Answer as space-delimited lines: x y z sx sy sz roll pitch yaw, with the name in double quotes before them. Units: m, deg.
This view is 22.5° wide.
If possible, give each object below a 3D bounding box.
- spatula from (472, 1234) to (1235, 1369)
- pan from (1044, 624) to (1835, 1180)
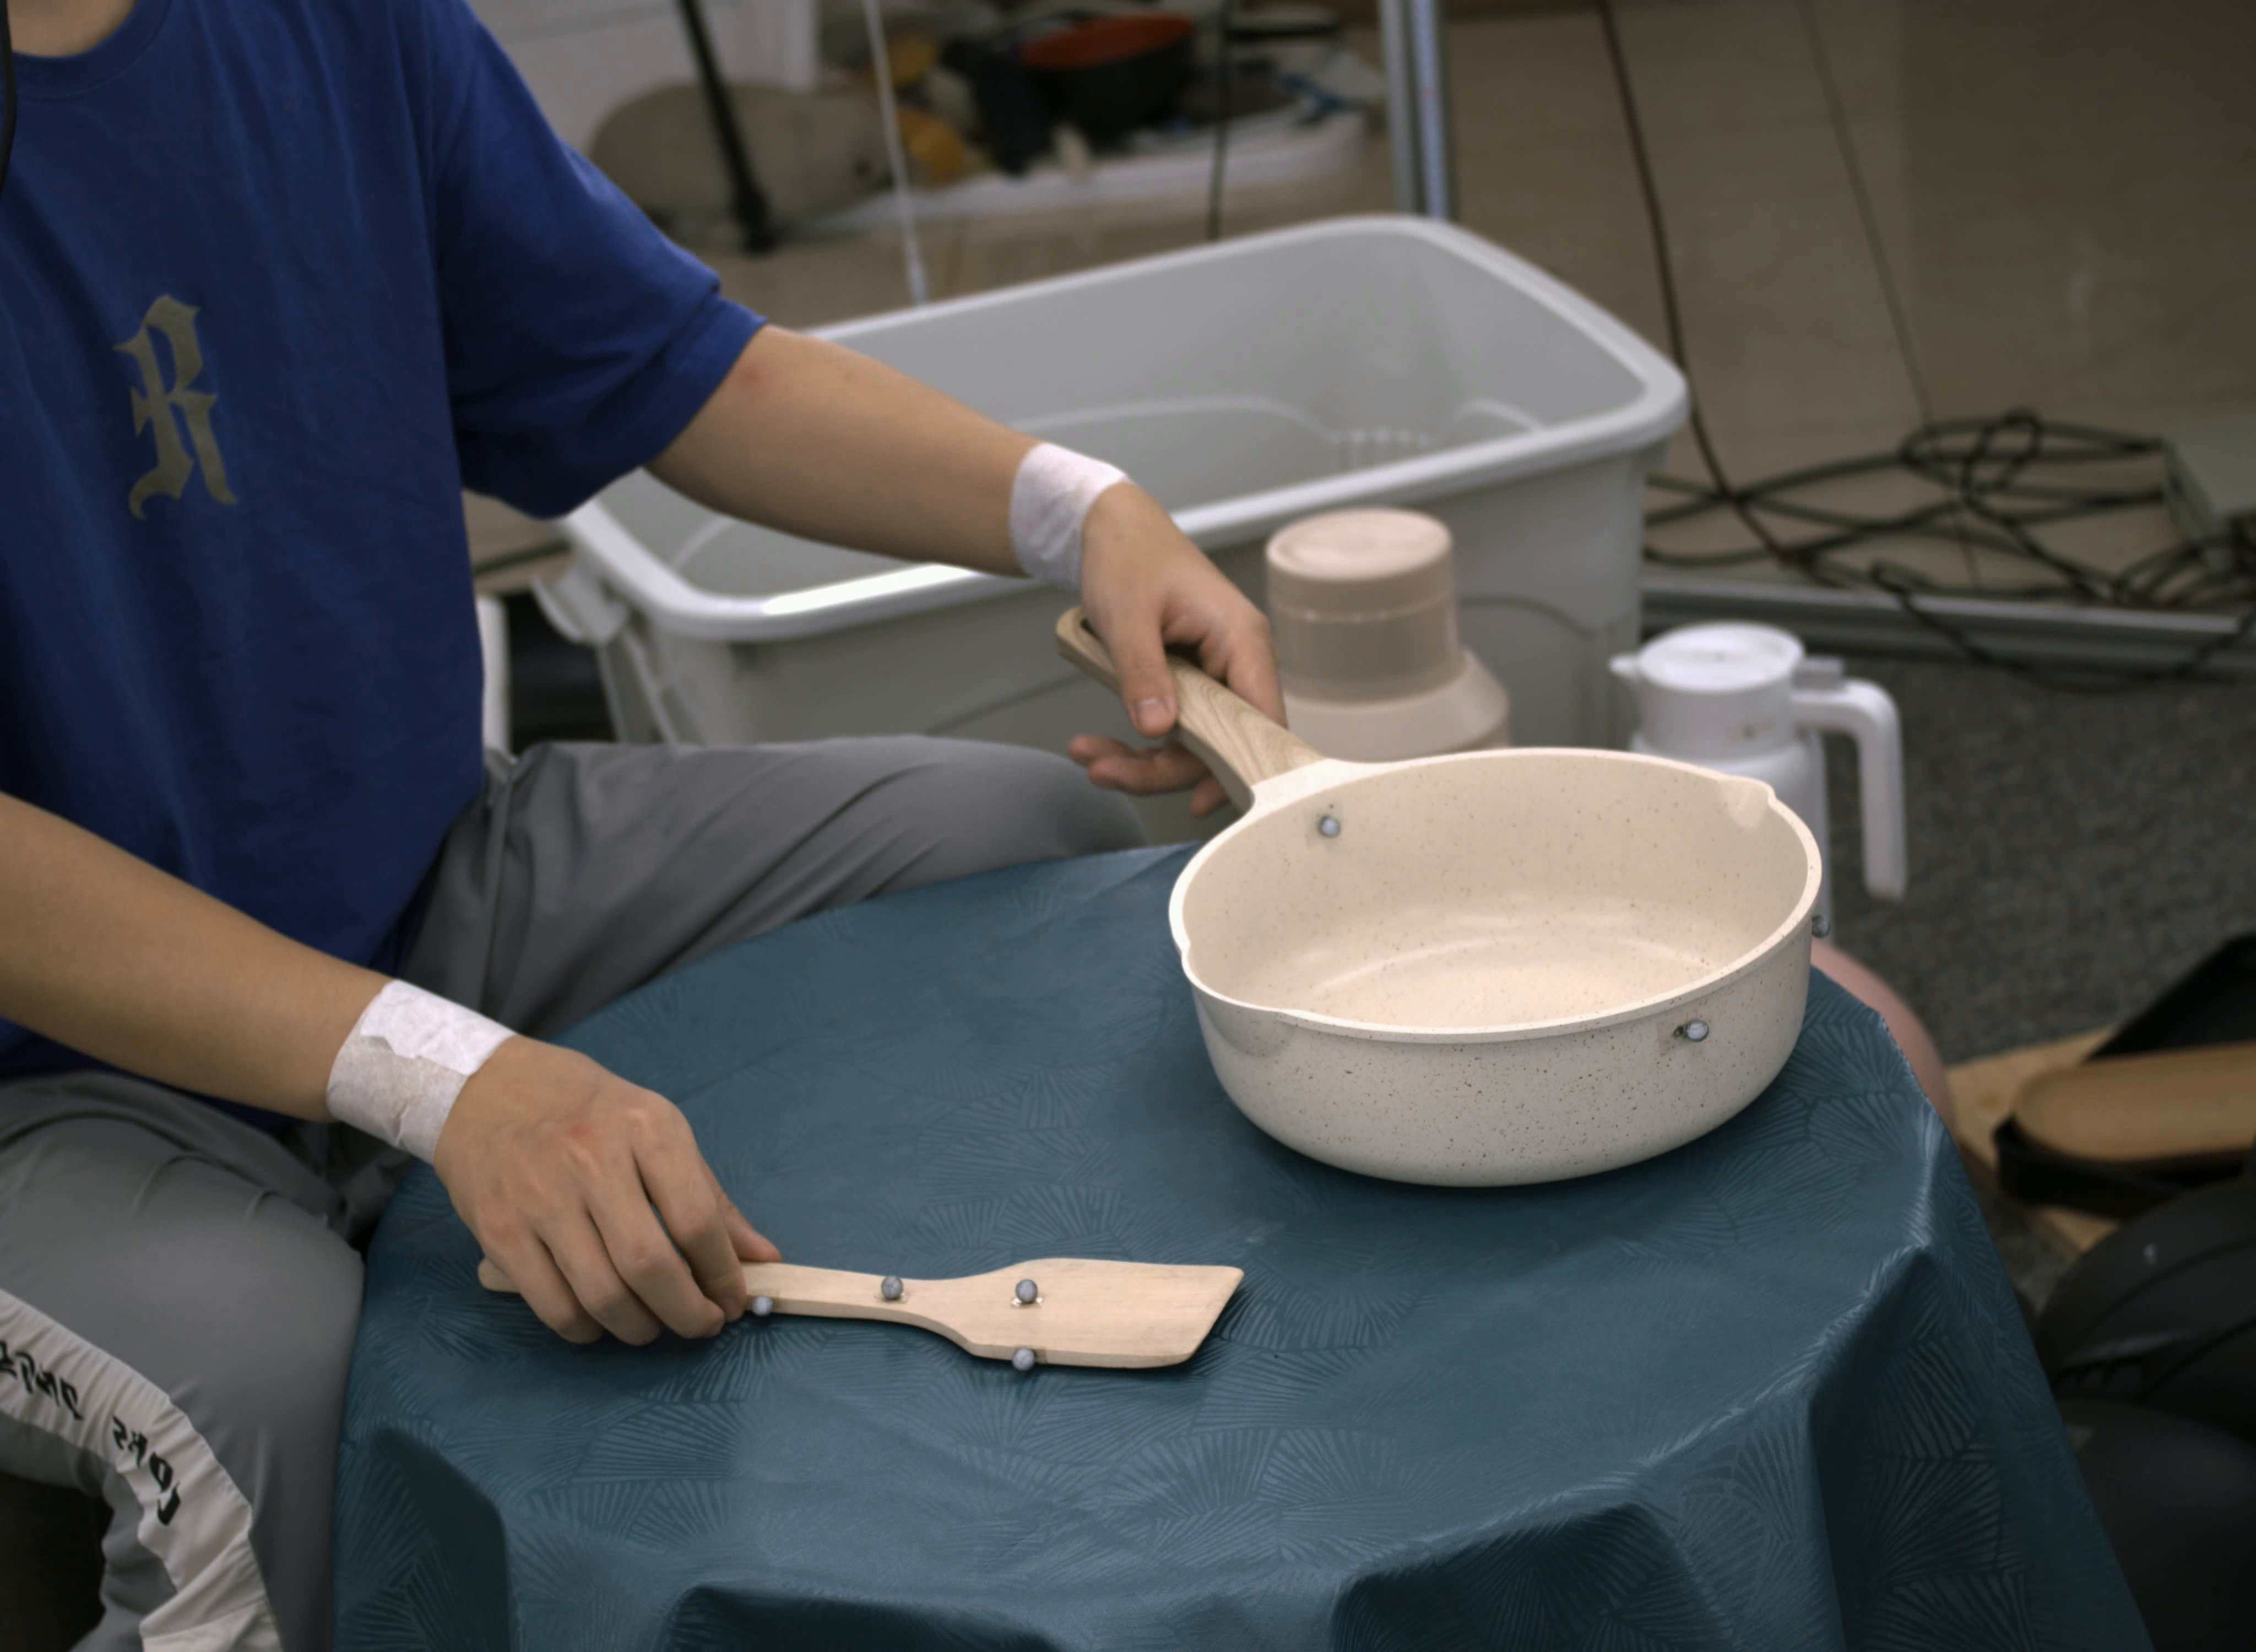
"spatula" -0.107 0.171 2.091 0.292 0.011 0.071 3 26 18
"pan" 0.099 0.022 2.257 0.262 0.103 0.430 -22 29 -26
